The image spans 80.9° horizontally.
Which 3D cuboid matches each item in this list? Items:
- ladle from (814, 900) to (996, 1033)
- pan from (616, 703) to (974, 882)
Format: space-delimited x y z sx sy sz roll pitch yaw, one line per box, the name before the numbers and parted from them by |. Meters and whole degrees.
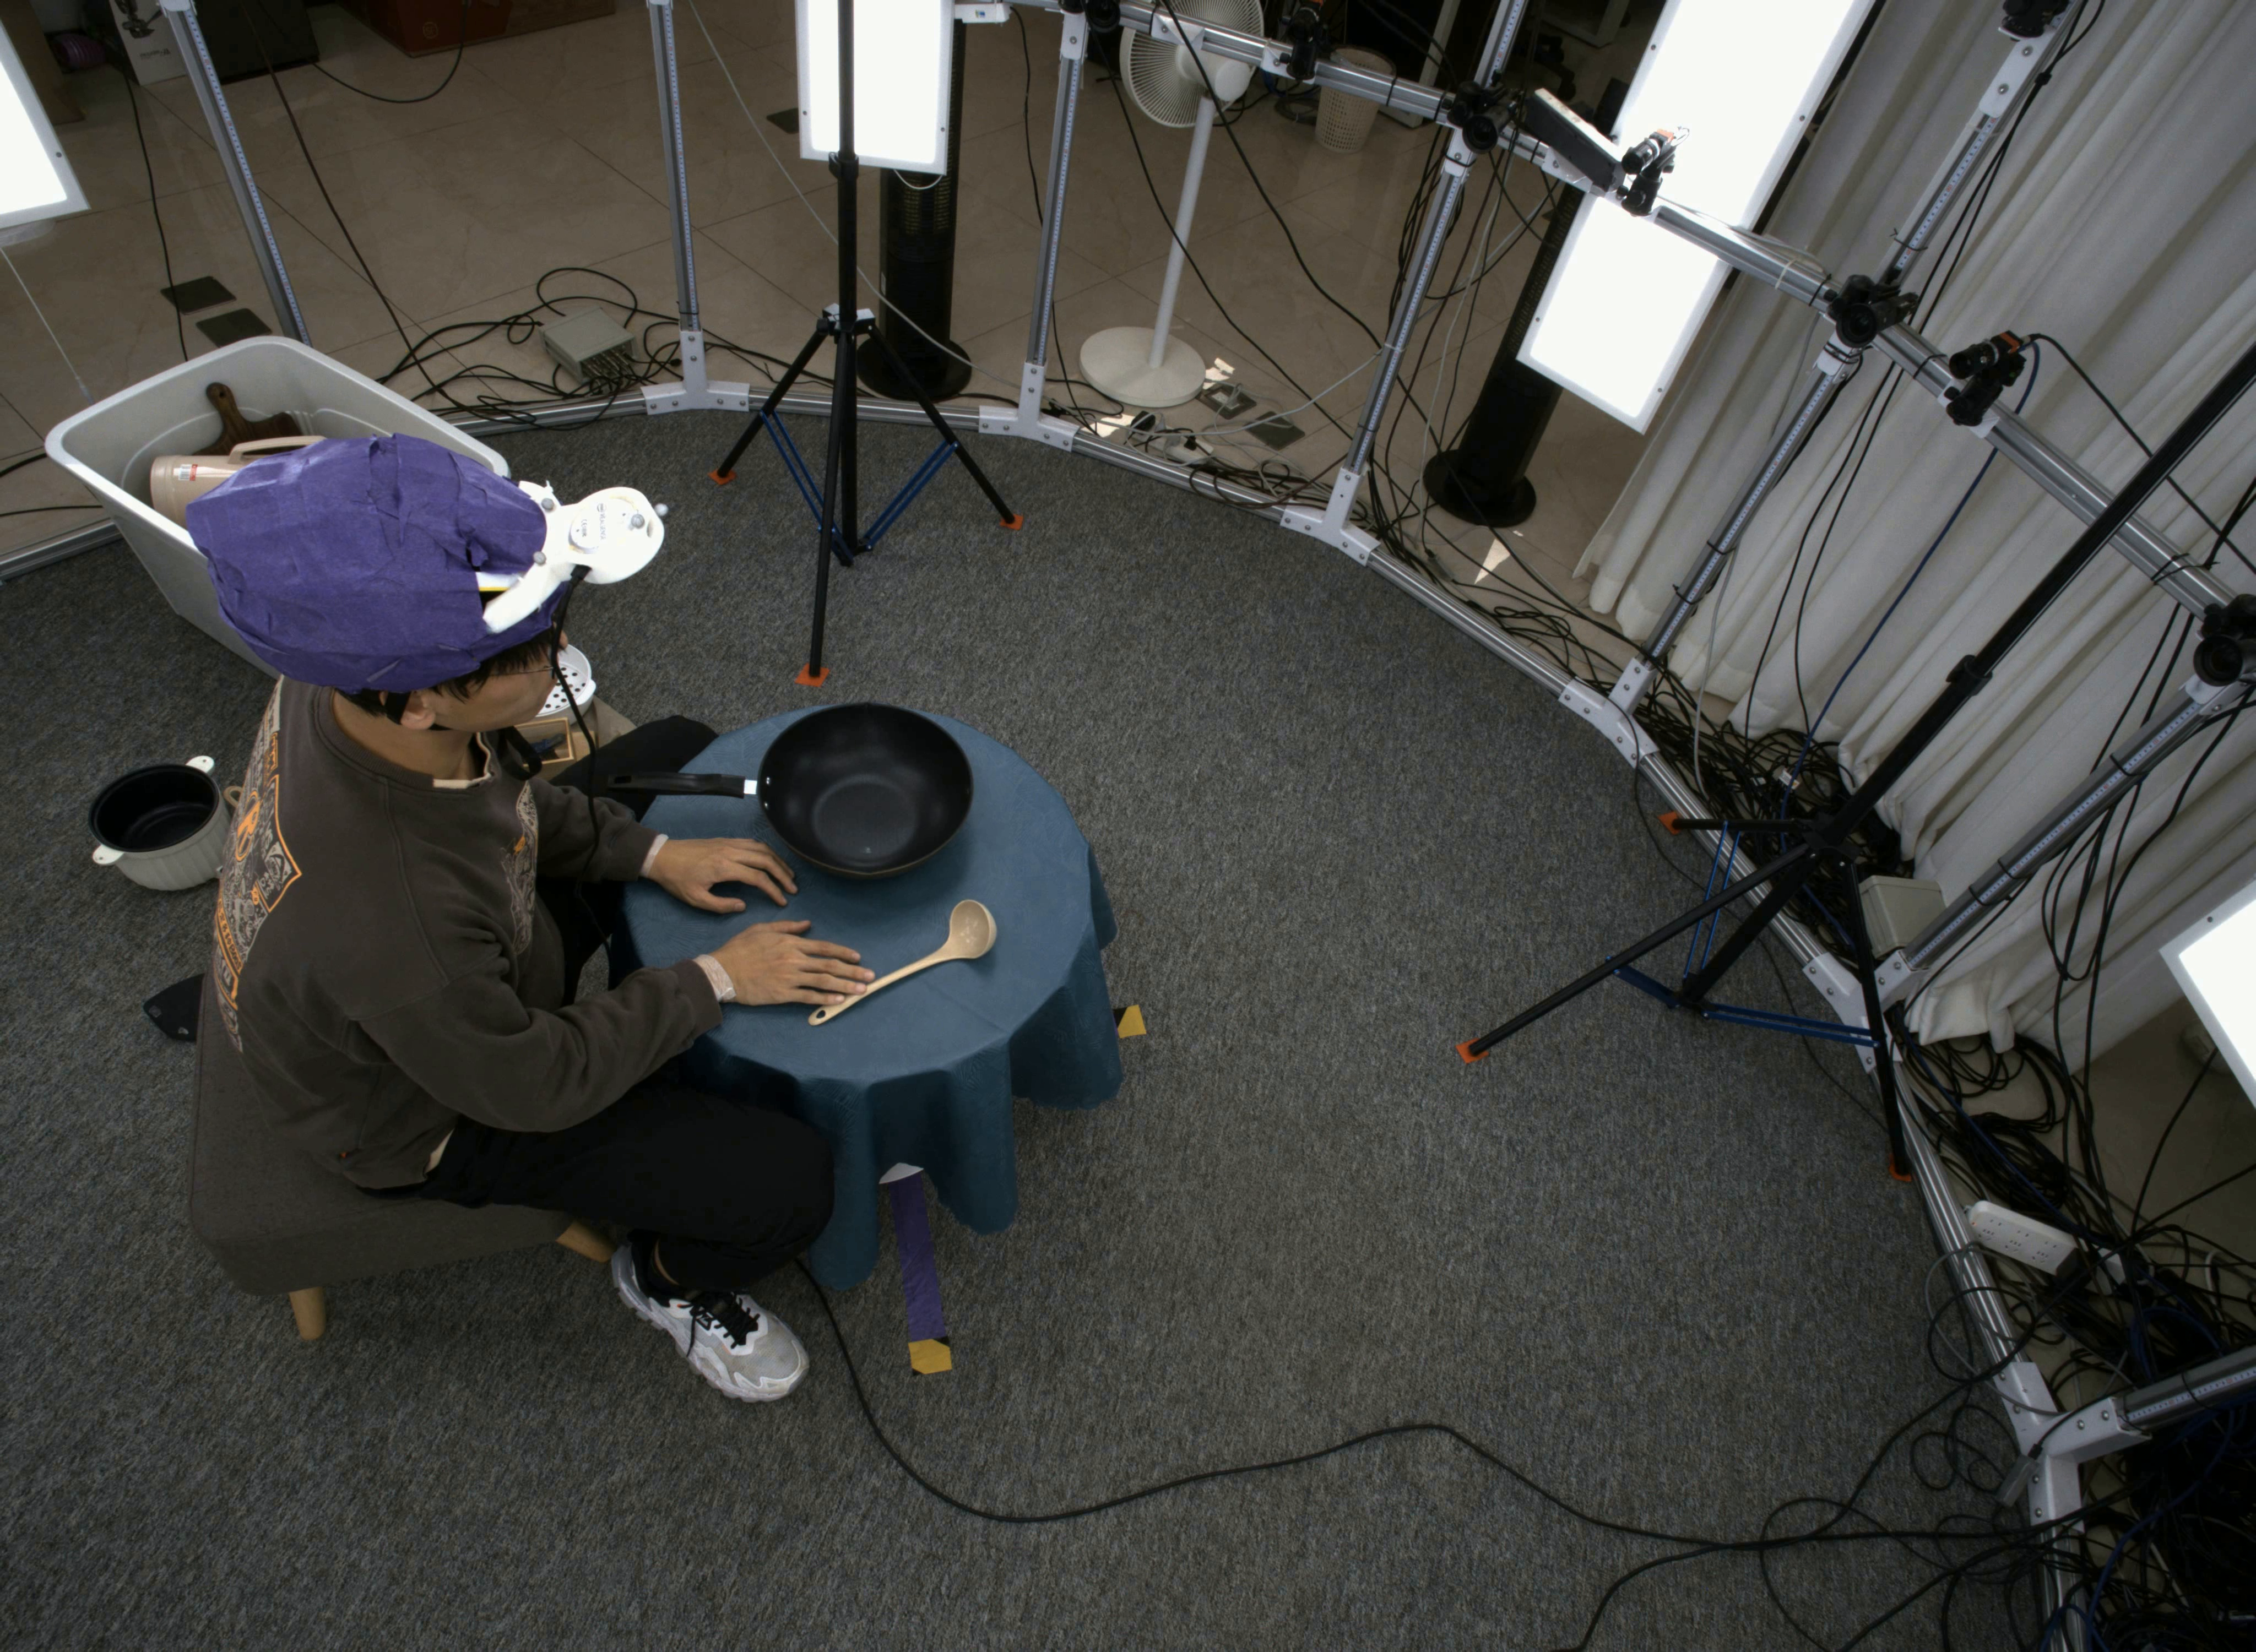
ladle | -0.275 0.170 1.603 0.255 0.074 0.071 -29 68 -30
pan | -0.434 -0.031 1.706 0.463 0.089 0.282 0 55 -12
